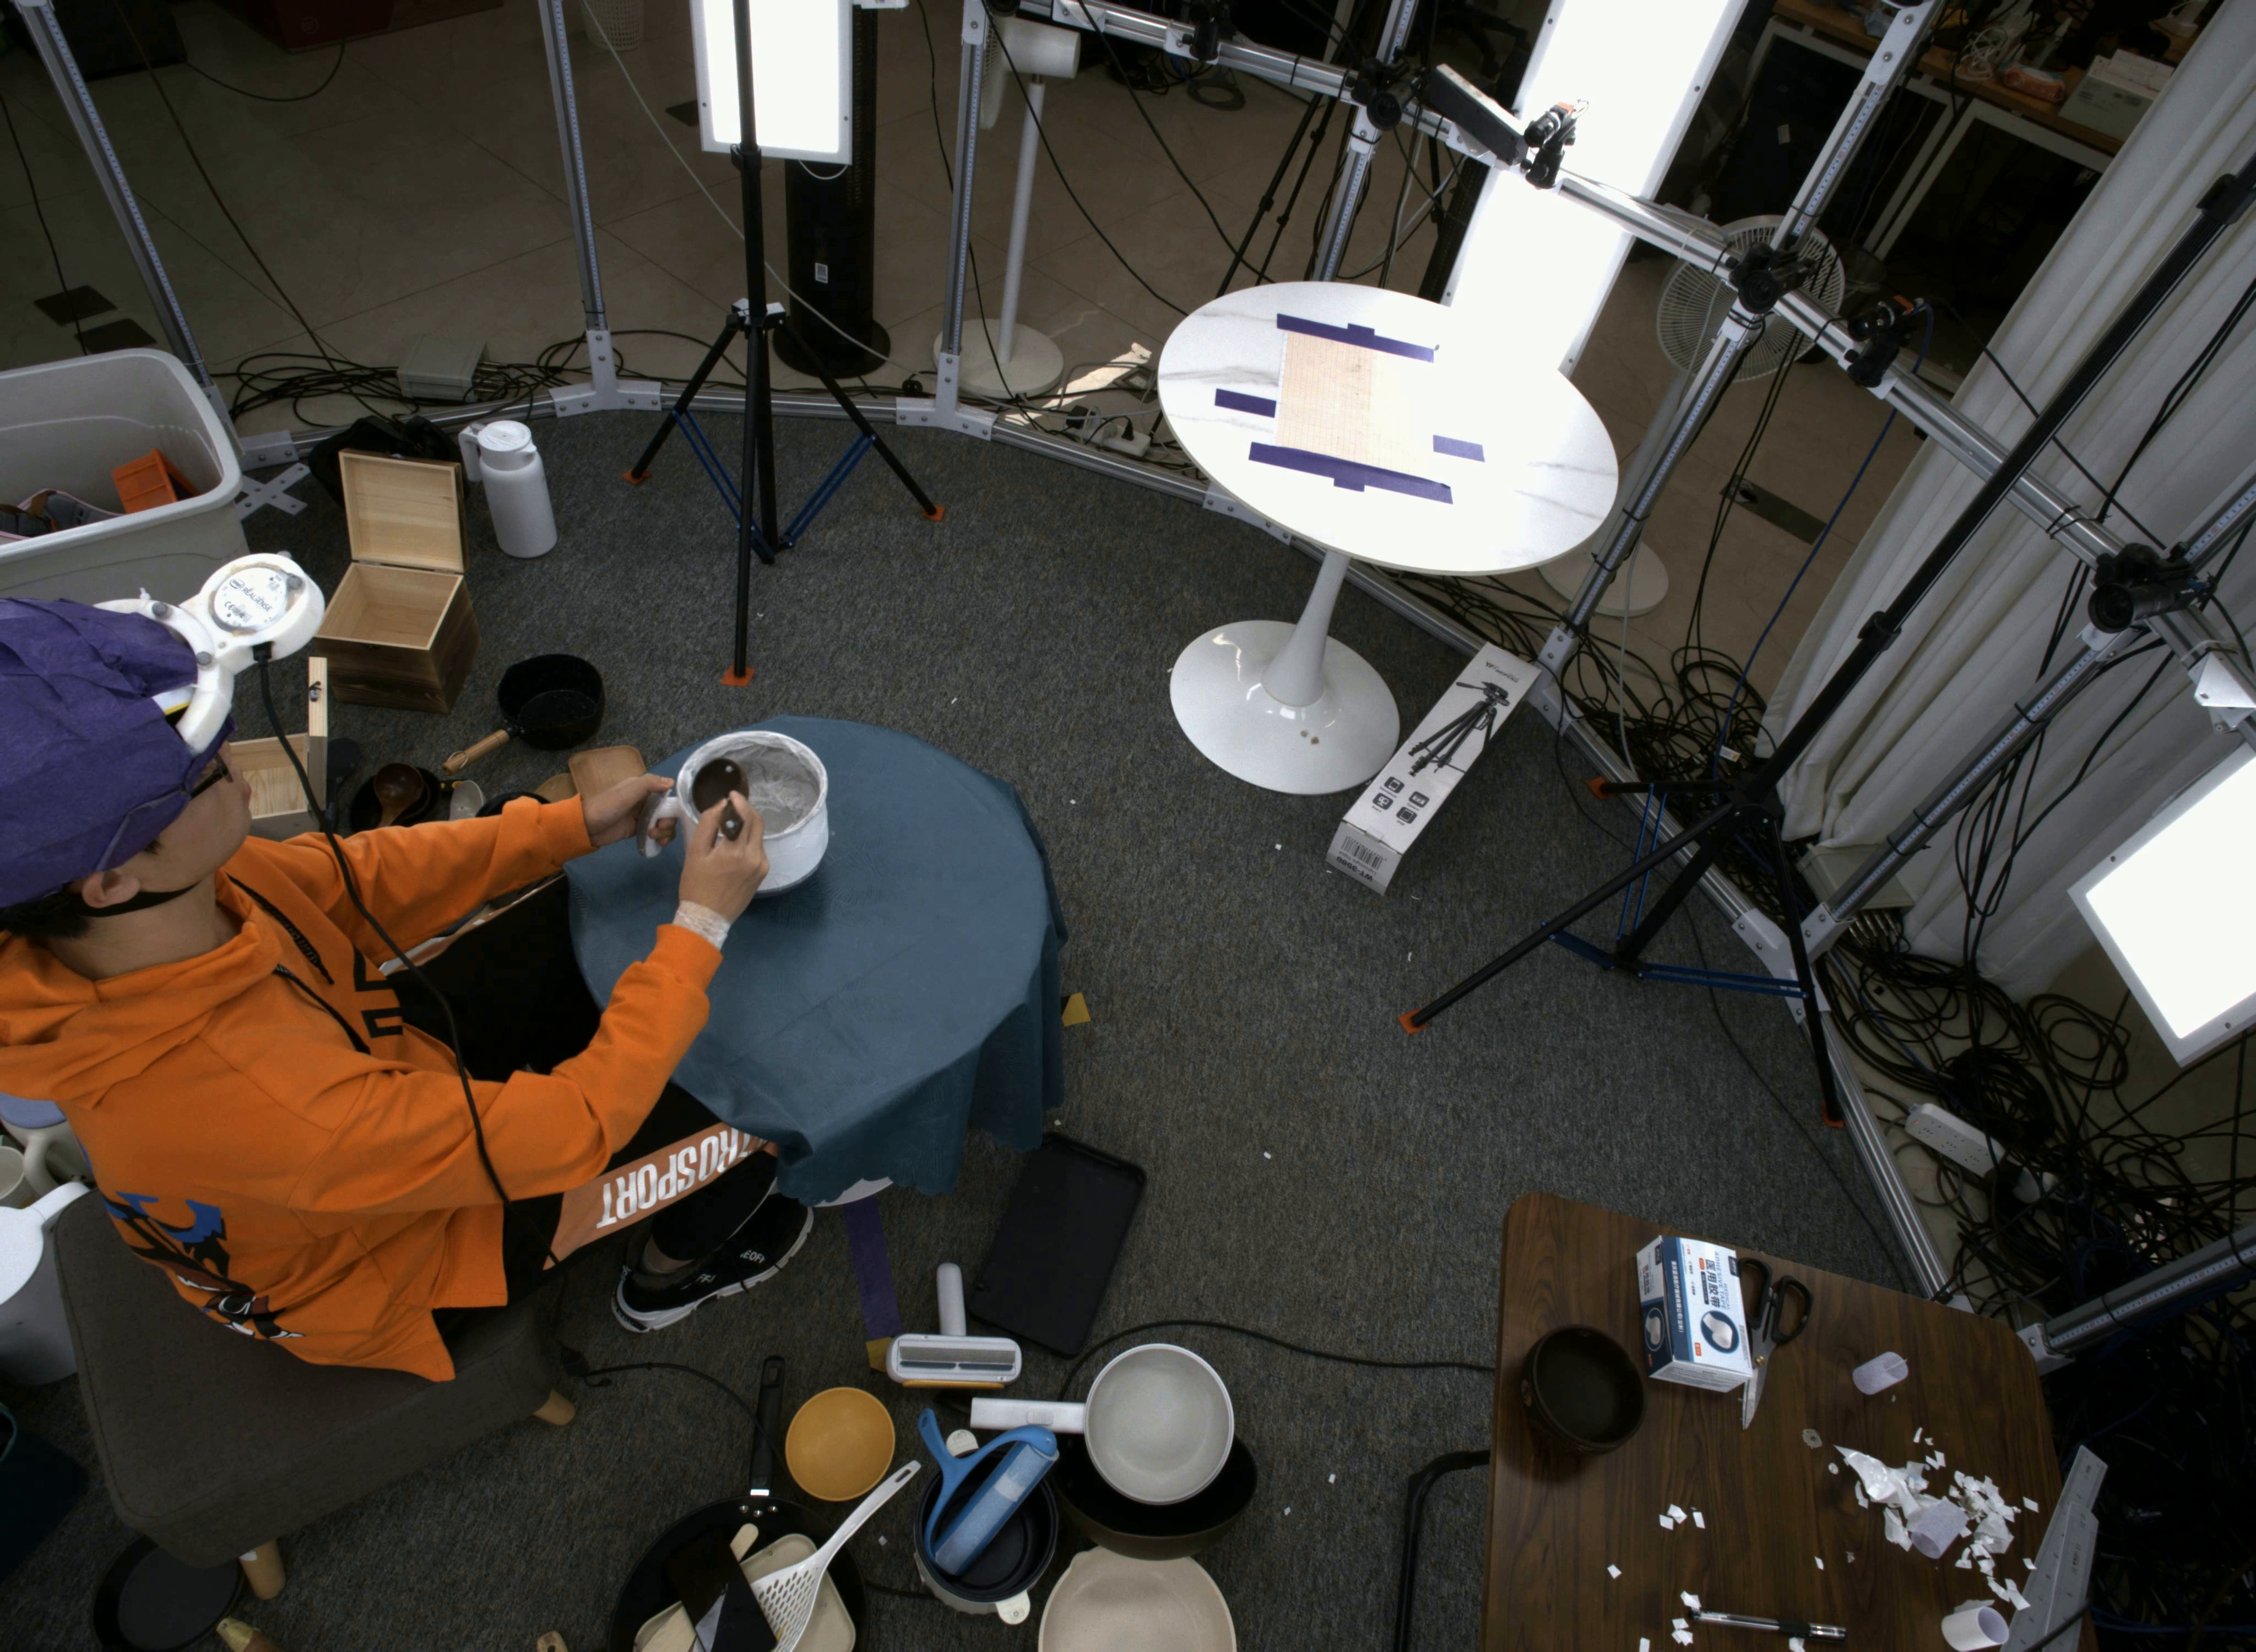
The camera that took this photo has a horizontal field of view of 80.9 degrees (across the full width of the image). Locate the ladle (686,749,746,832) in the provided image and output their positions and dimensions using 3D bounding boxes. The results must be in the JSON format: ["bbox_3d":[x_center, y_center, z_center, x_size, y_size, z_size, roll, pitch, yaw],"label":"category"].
[{"bbox_3d":[-0.456,-0.038,1.414,0.072,0.268,0.076,28,90,-17],"label":"ladle"}]

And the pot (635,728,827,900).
[{"bbox_3d":[-0.484,-0.009,1.569,0.234,0.140,0.174,-5,51,-18],"label":"pot"}]
